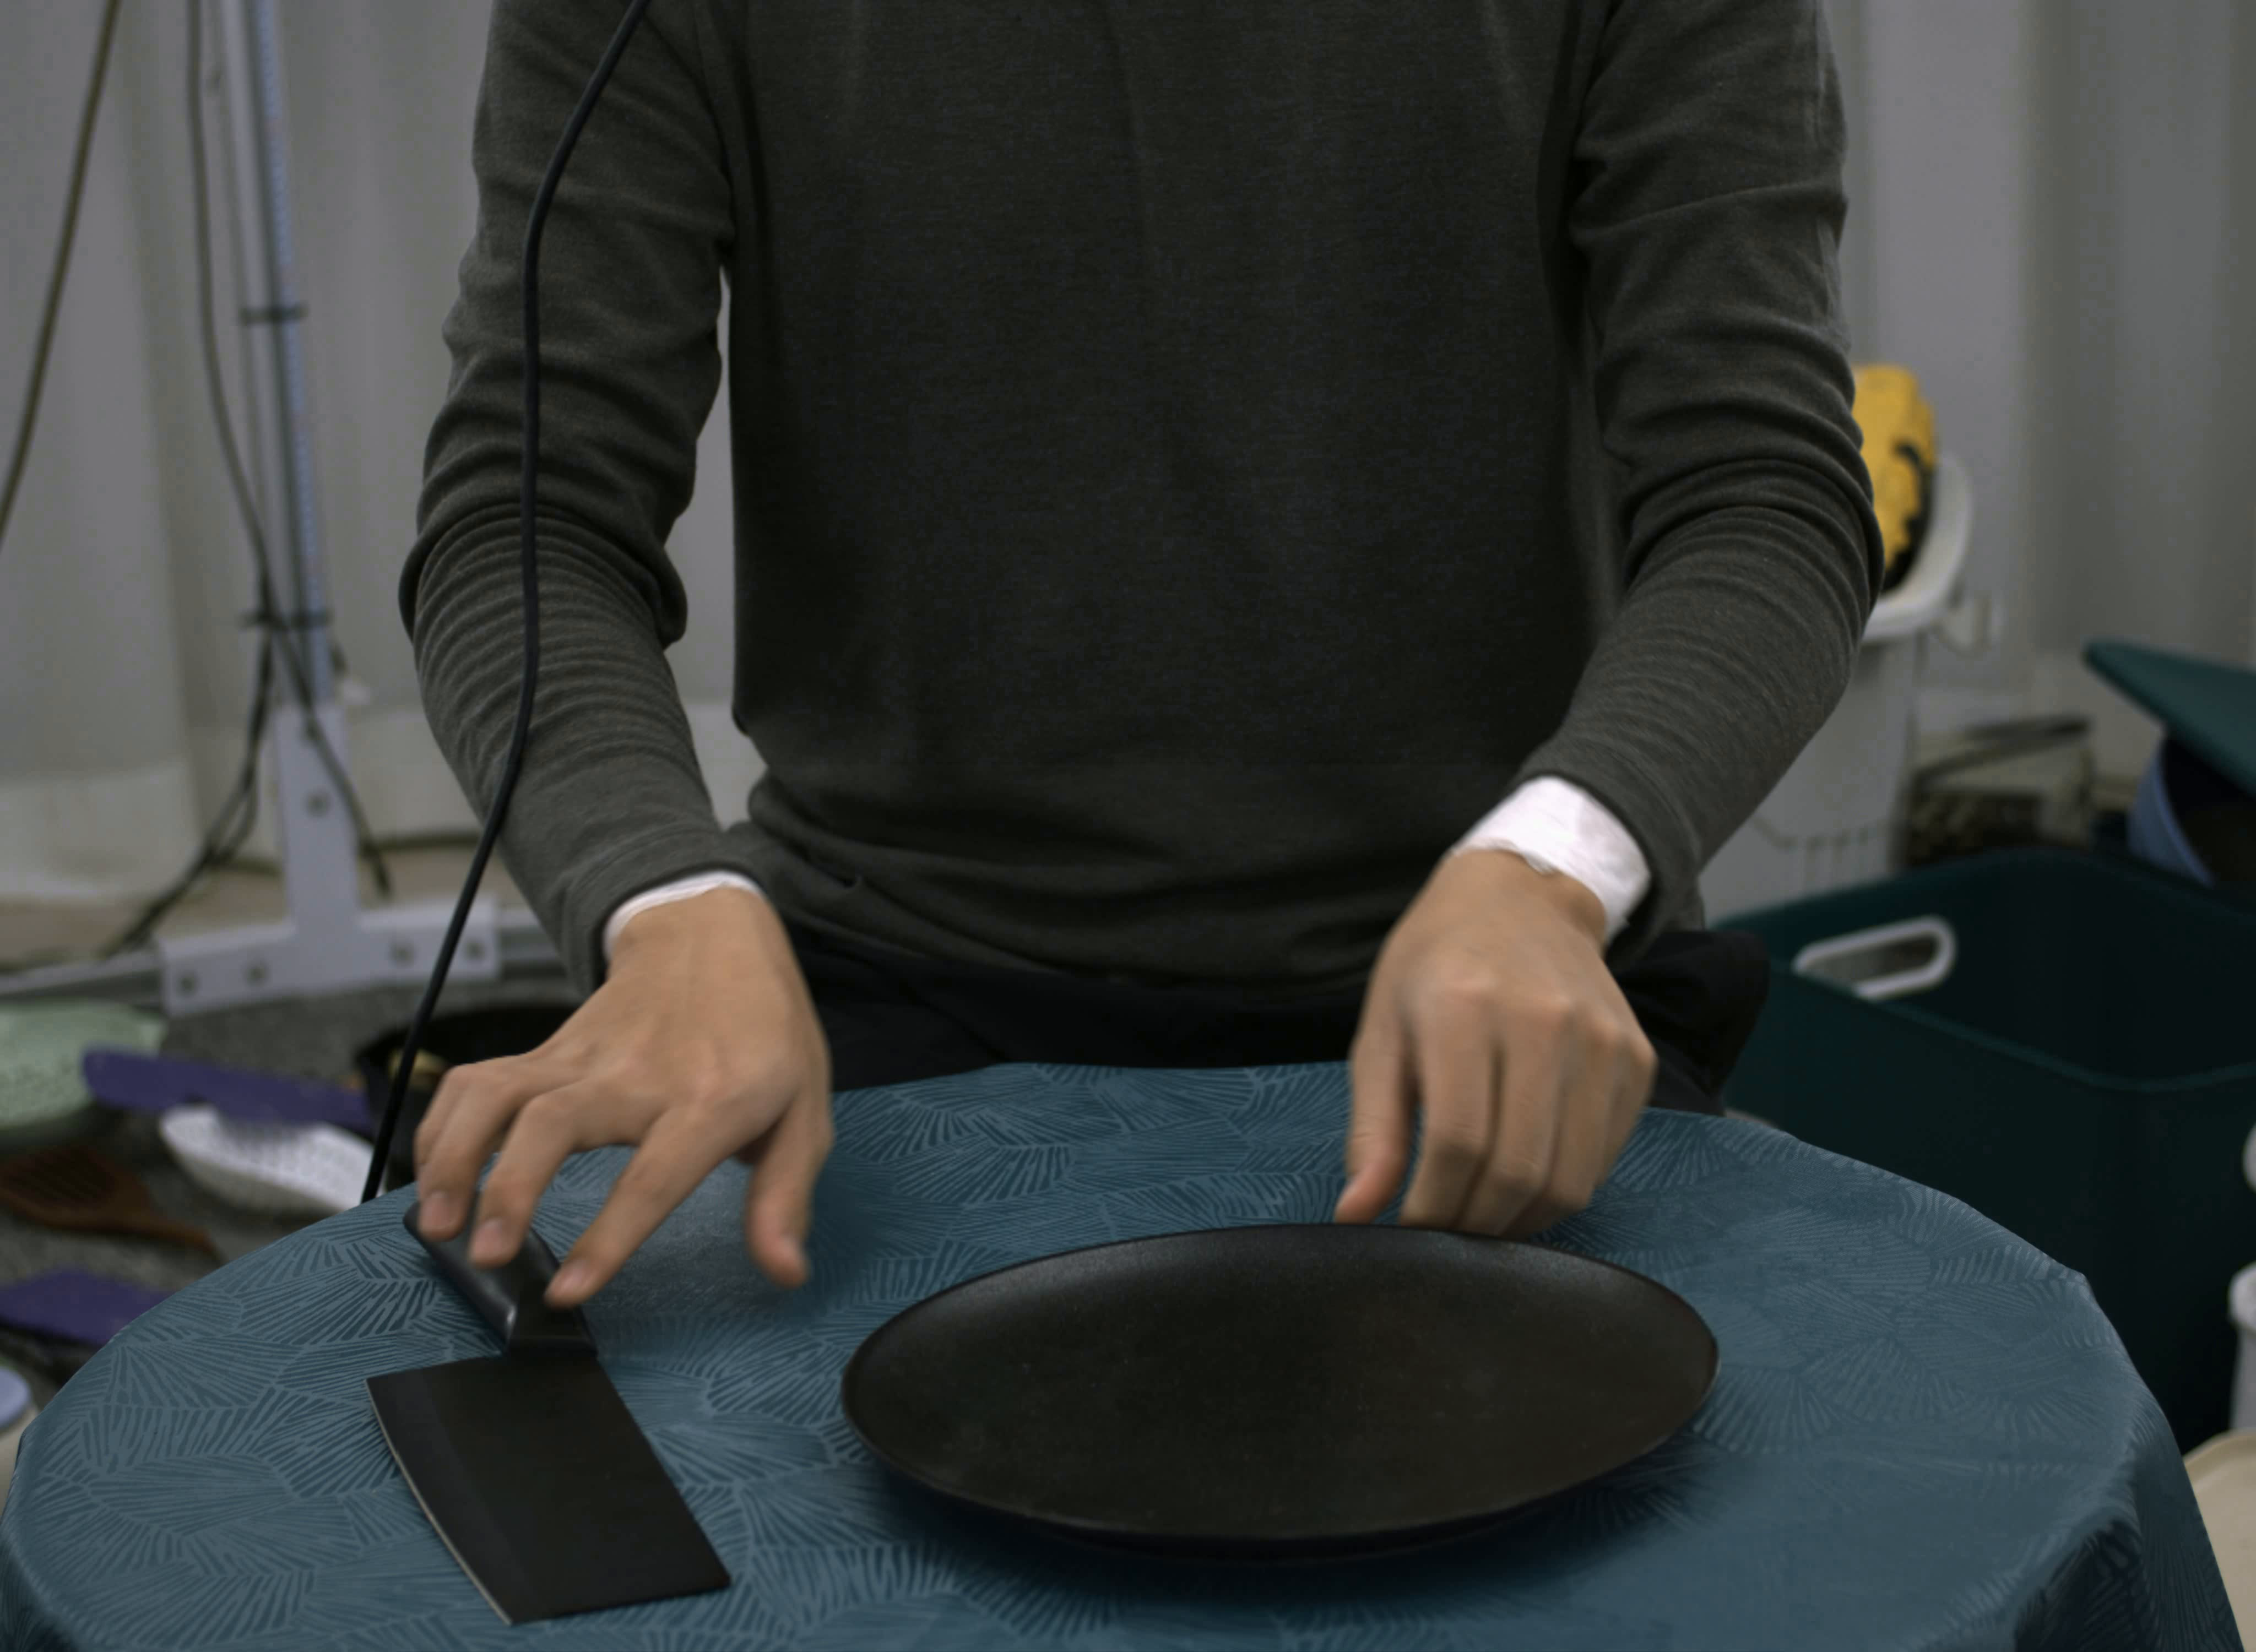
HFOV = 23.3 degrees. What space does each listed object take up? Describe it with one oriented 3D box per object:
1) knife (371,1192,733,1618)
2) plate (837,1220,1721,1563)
[{"bbox_3d":[-0.175,0.161,1.548,0.080,0.021,0.305,-7,17,-12],"label":"knife"},{"bbox_3d":[0.041,0.158,1.502,0.243,0.023,0.246,-3,15,0],"label":"plate"}]
